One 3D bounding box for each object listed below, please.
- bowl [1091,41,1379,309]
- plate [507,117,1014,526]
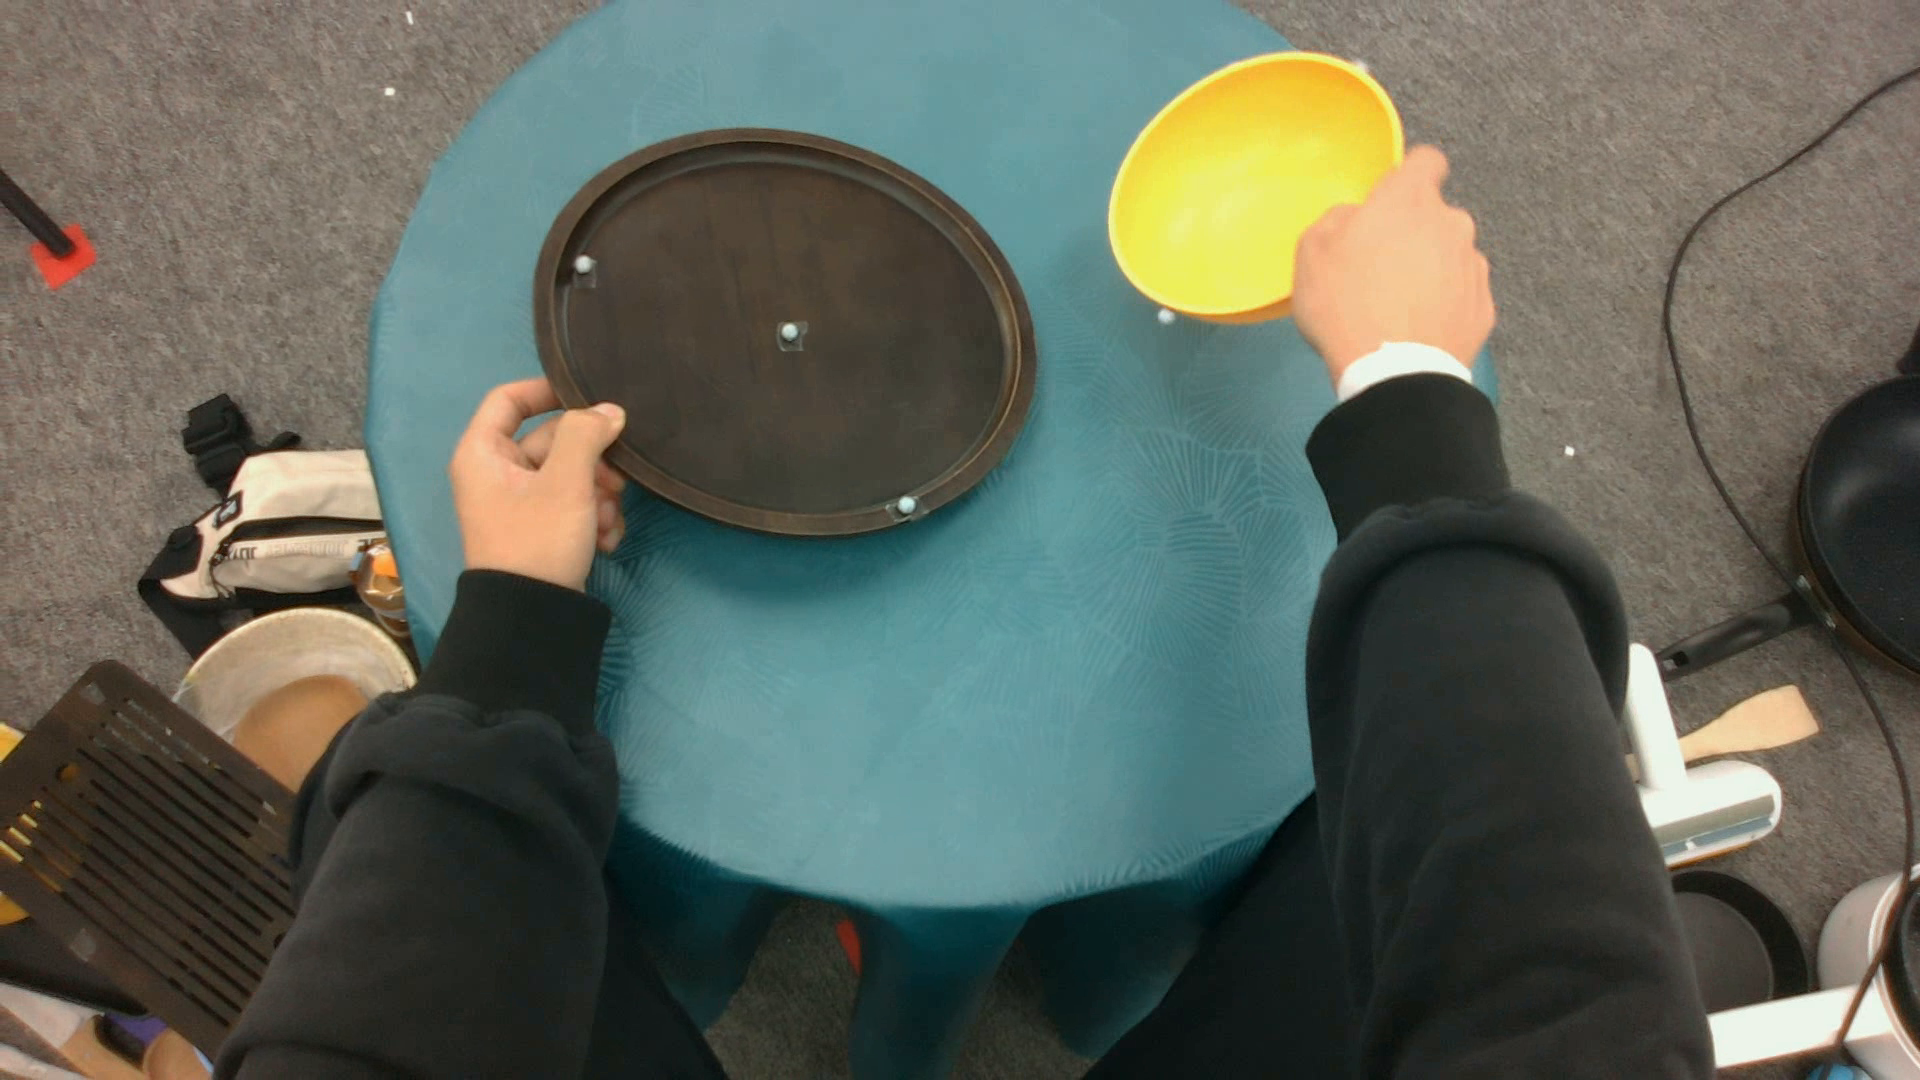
[{"bbox_3d":[0.143,-0.173,0.695,0.145,0.060,0.146,-10,67,25],"label":"bowl"},{"bbox_3d":[-0.096,-0.116,0.698,0.255,0.029,0.256,8,60,-14],"label":"plate"}]
